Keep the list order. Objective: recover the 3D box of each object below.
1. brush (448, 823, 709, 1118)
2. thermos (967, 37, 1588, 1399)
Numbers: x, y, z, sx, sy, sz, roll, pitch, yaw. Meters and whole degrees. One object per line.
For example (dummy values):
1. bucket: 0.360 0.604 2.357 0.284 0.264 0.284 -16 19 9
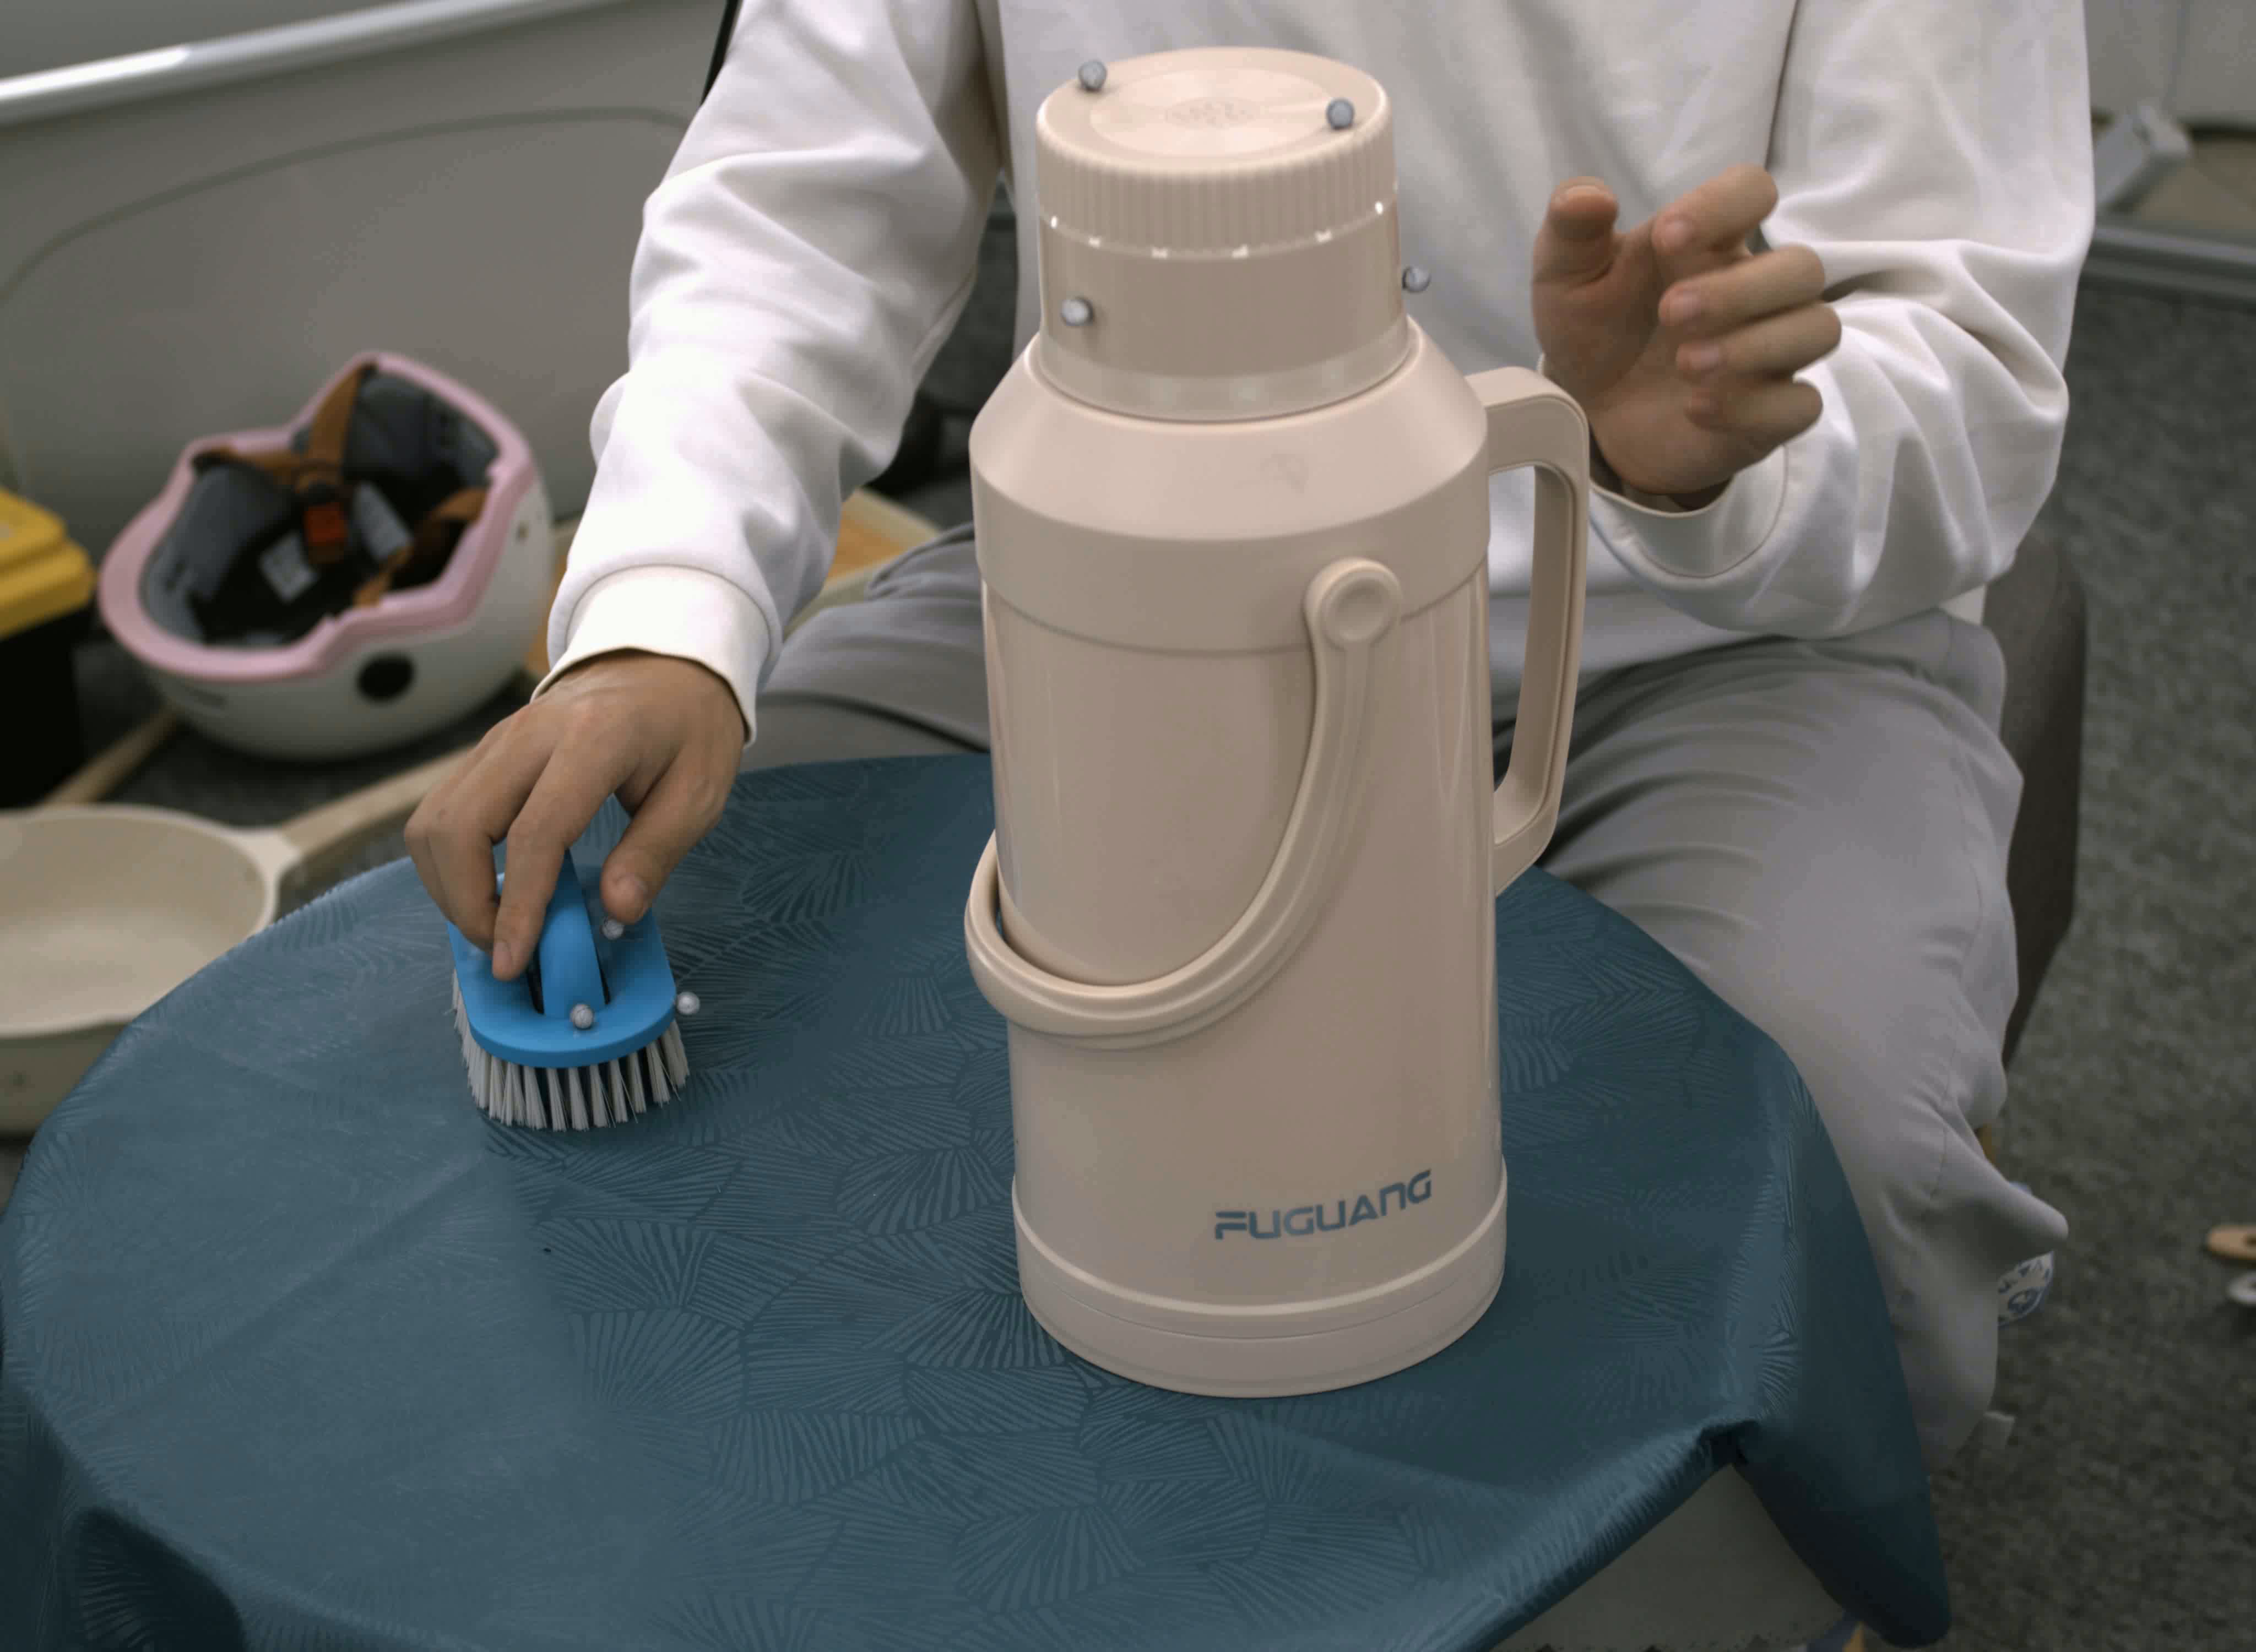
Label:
1. brush: -0.196 0.042 1.962 0.084 0.063 0.143 -11 28 -6
2. thermos: 0.048 -0.036 1.739 0.208 0.402 0.176 -14 27 -22
